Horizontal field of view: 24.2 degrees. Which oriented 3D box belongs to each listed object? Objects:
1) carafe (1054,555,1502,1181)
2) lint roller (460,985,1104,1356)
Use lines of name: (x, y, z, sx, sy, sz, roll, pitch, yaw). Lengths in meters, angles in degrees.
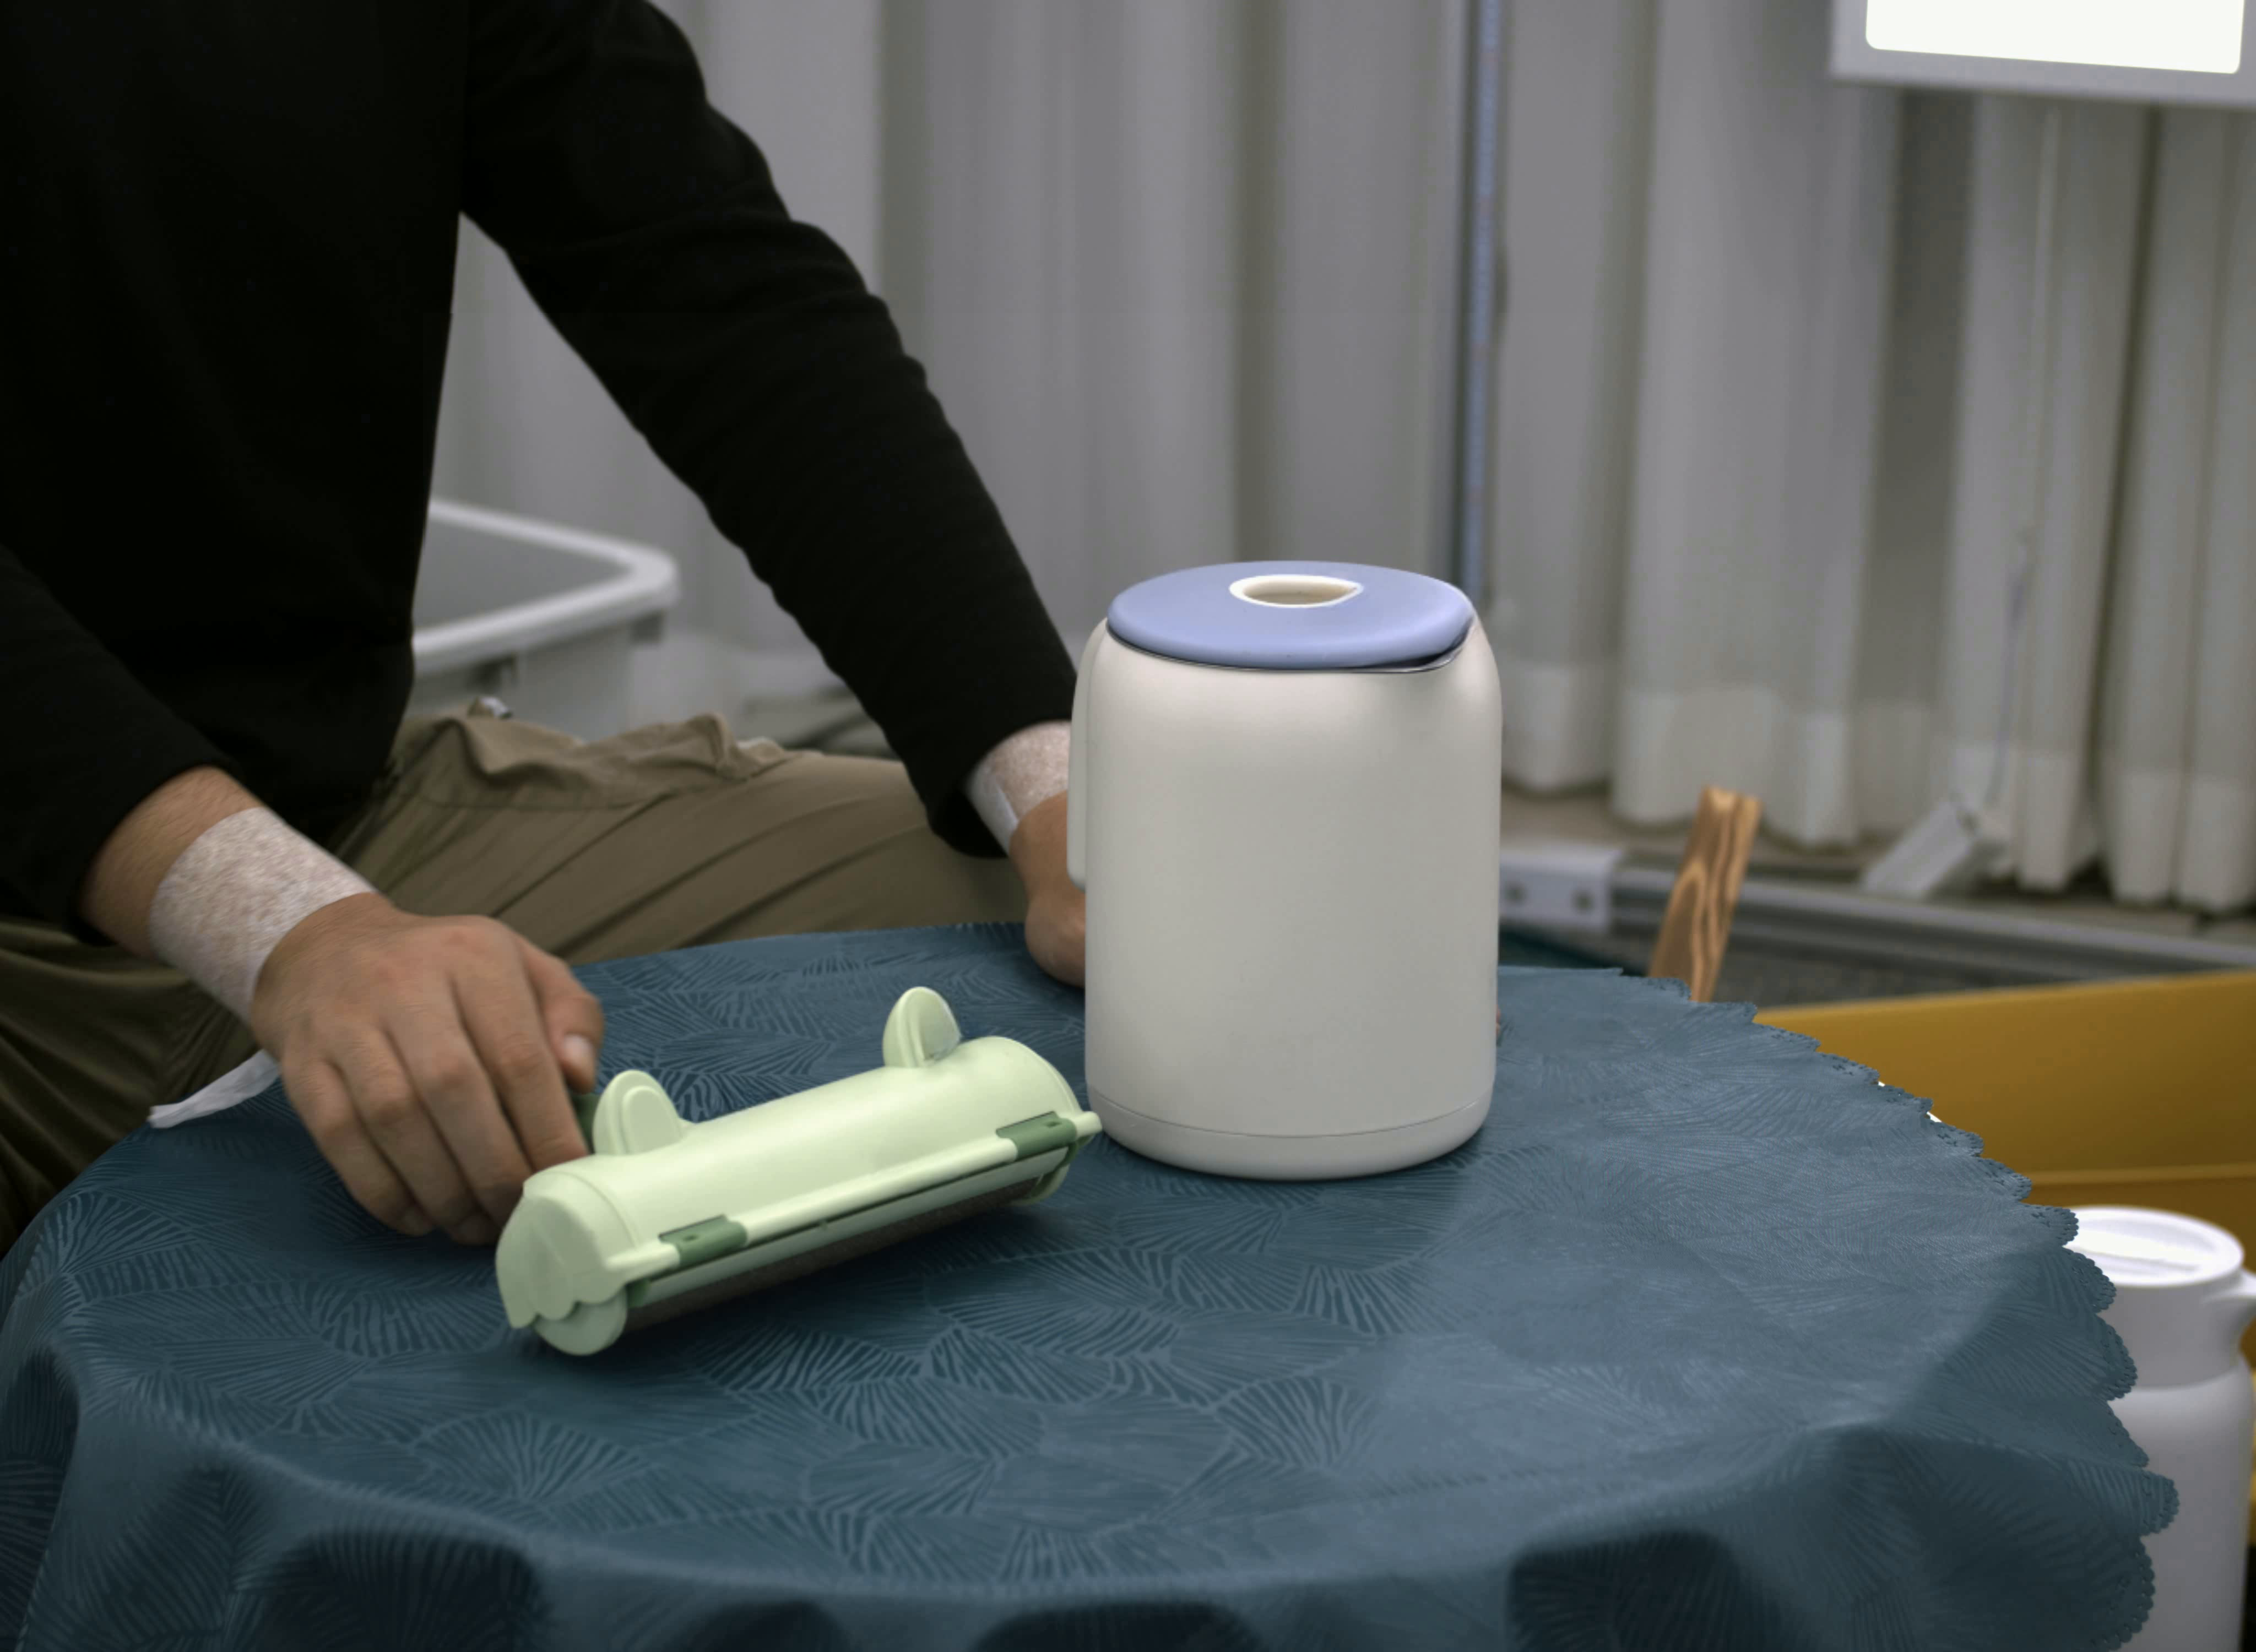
carafe: (0.038, 0.007, 1.679, 0.133, 0.184, 0.188, -11, 17, -35)
lint roller: (-0.135, 0.087, 1.564, 0.181, 0.083, 0.199, 18, 22, 39)
